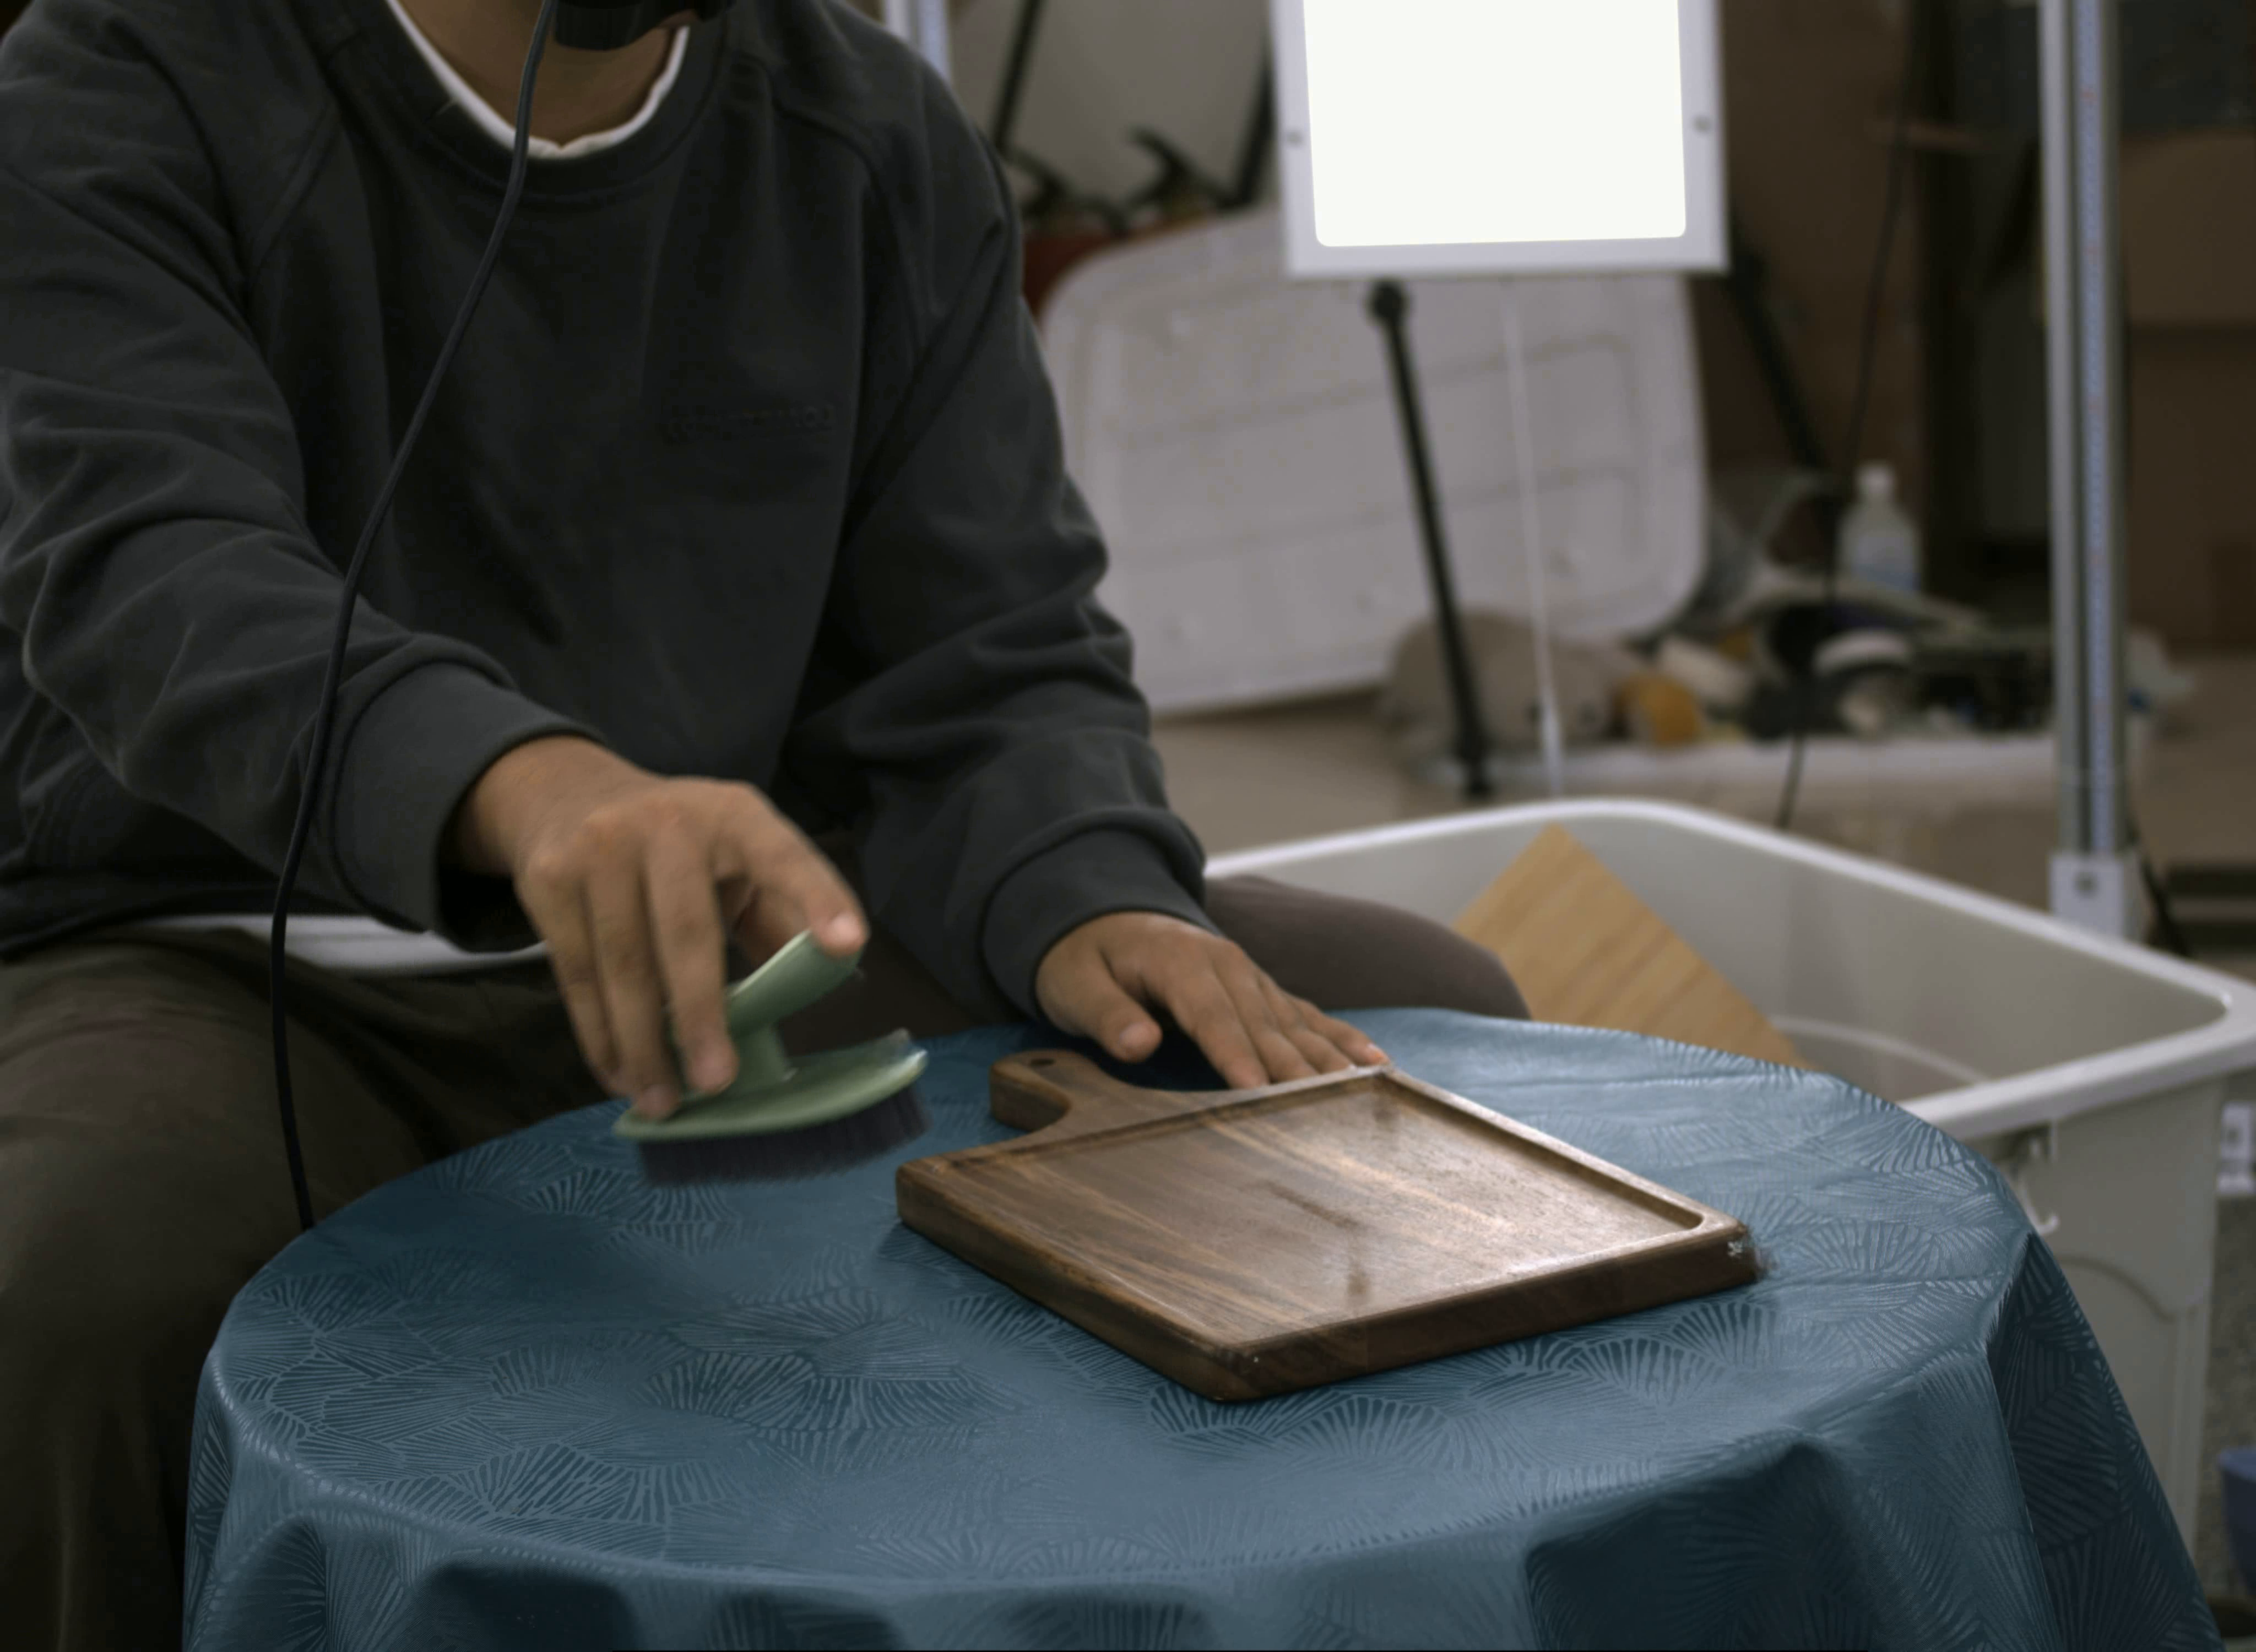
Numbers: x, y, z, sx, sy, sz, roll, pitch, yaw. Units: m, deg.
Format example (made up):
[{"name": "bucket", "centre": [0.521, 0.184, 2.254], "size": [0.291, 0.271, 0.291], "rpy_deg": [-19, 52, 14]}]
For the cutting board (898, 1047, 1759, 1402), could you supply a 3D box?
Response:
[{"name": "cutting board", "centre": [0.040, 0.121, 1.862], "size": [0.197, 0.023, 0.358], "rpy_deg": [-11, 14, -24]}]

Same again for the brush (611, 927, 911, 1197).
[{"name": "brush", "centre": [-0.118, 0.084, 1.754], "size": [0.058, 0.076, 0.125], "rpy_deg": [-21, -4, -39]}]
